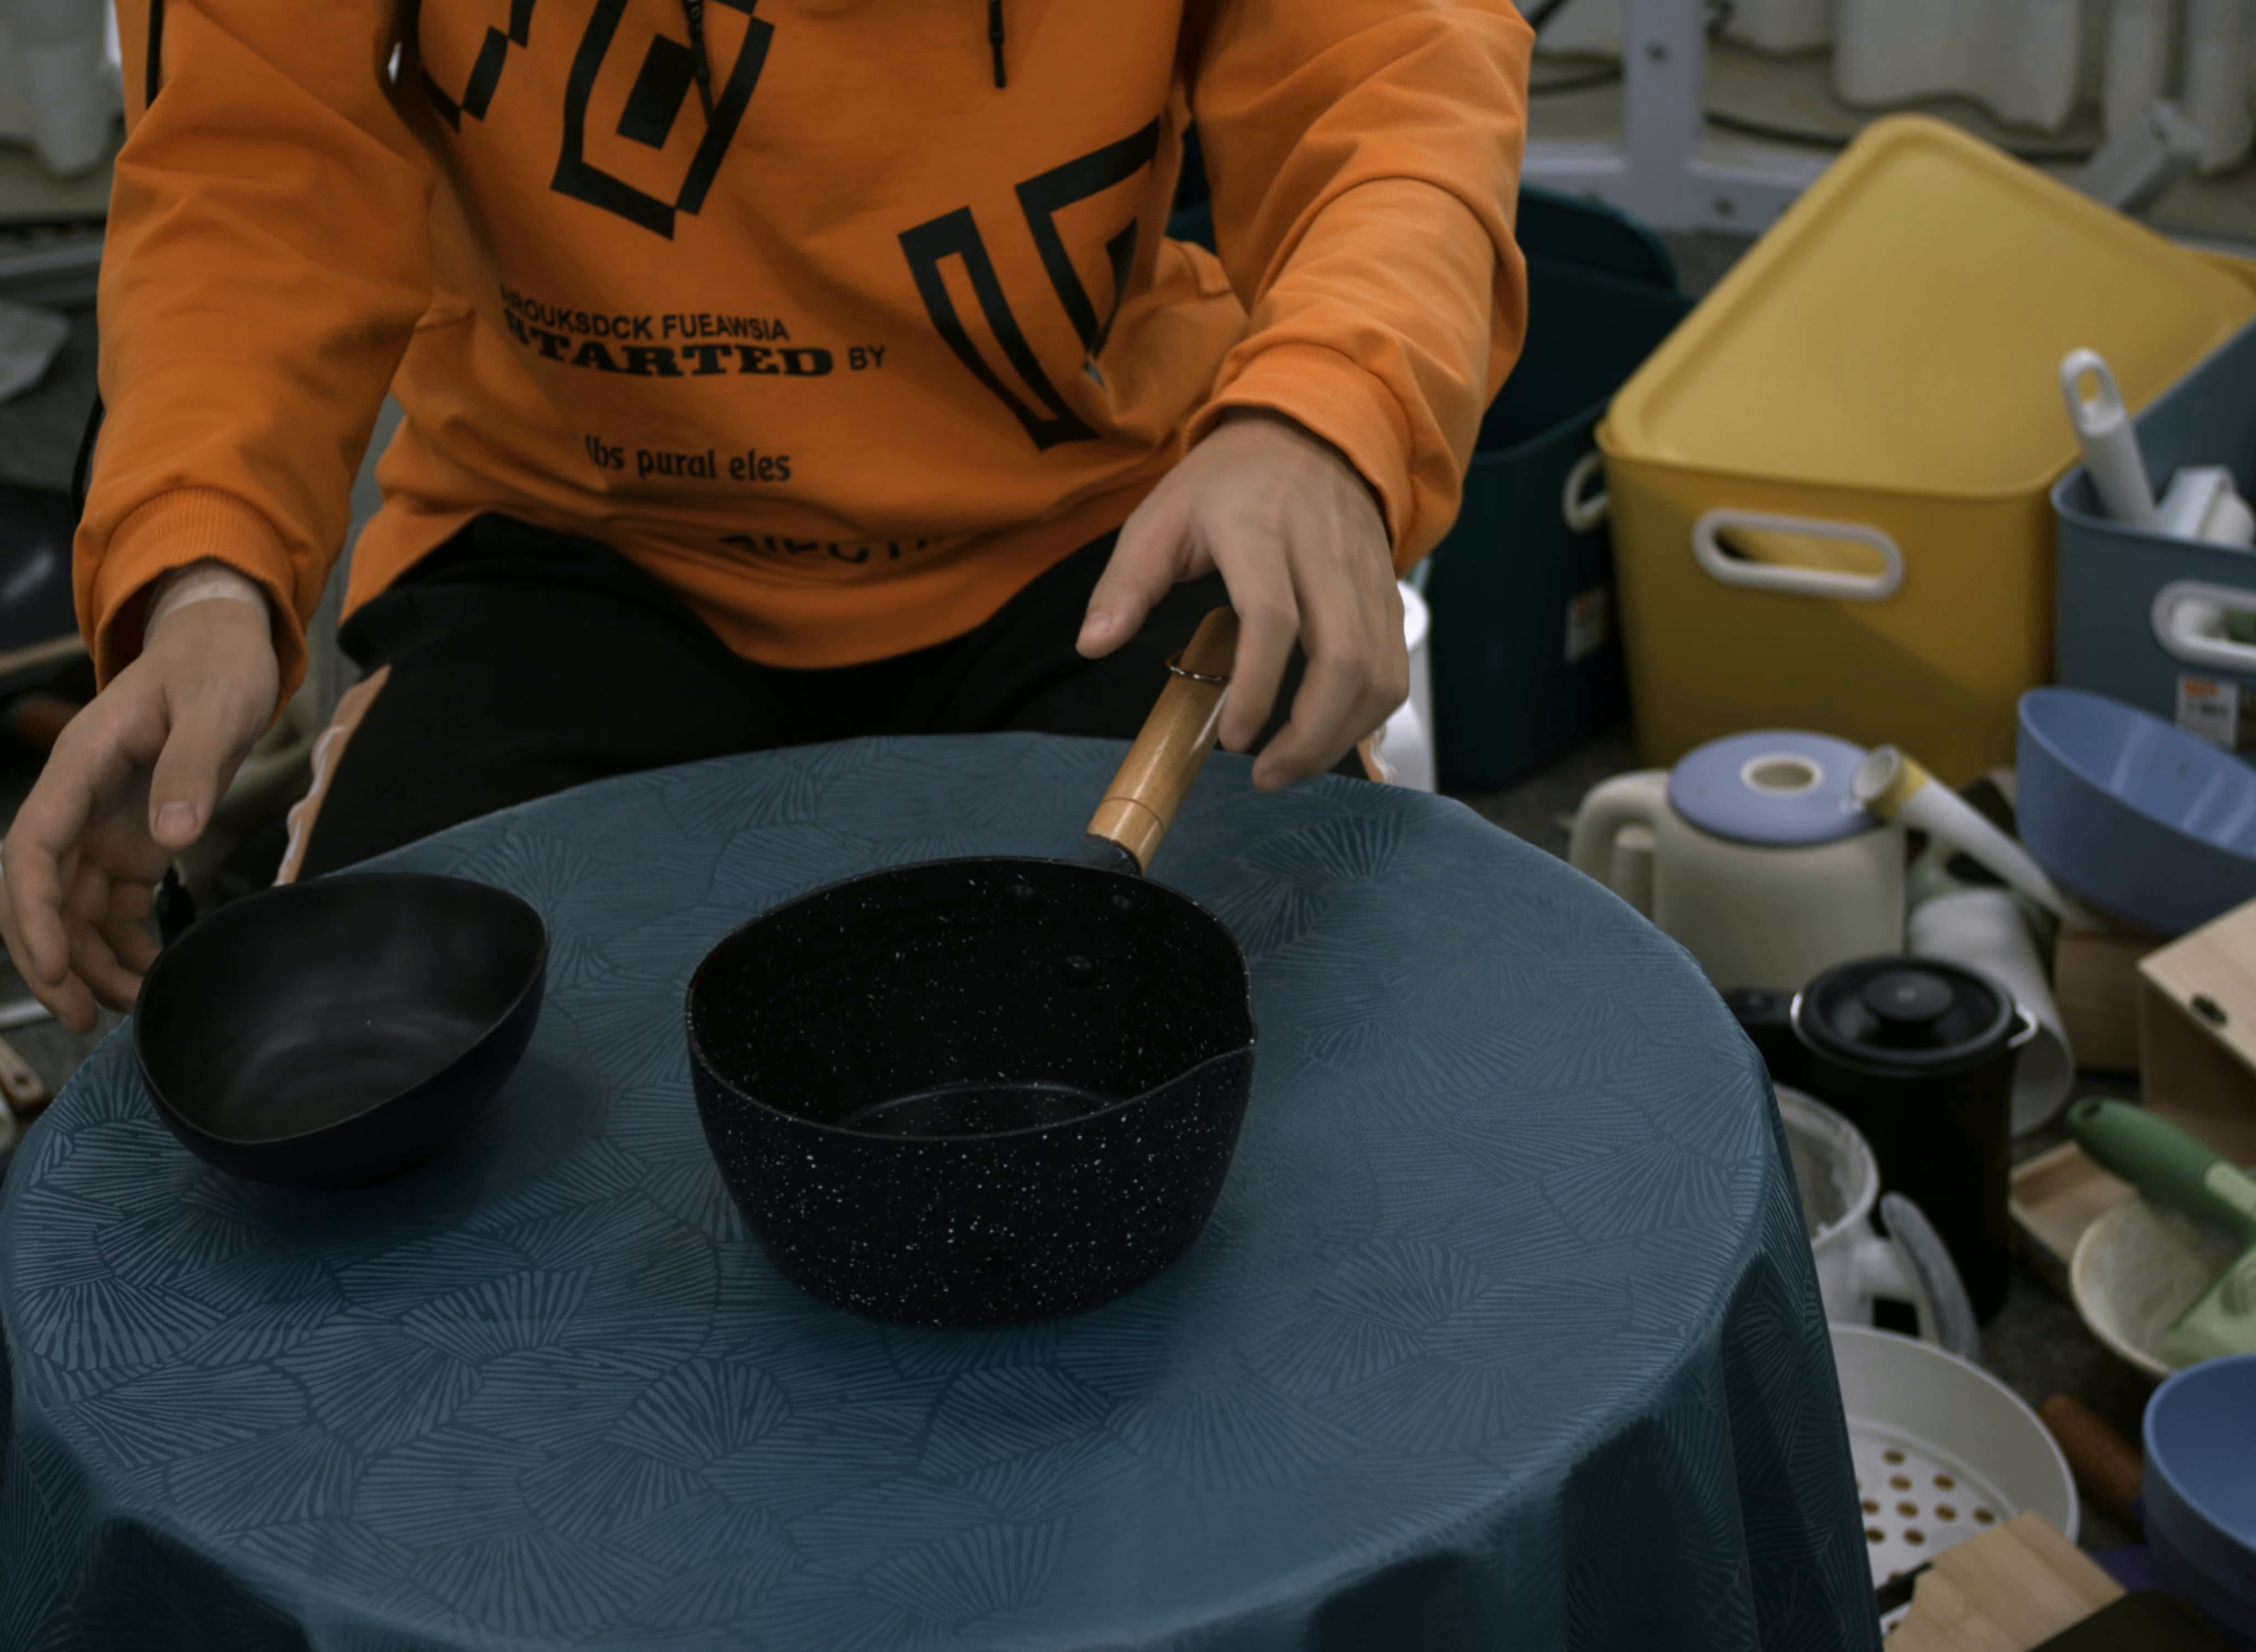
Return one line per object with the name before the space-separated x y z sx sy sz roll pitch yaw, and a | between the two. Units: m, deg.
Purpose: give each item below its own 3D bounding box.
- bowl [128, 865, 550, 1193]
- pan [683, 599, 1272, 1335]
bowl | -0.264 0.079 1.903 0.136 0.066 0.173 4 30 14
pan | -0.022 0.044 1.899 0.206 0.107 0.349 6 30 20
